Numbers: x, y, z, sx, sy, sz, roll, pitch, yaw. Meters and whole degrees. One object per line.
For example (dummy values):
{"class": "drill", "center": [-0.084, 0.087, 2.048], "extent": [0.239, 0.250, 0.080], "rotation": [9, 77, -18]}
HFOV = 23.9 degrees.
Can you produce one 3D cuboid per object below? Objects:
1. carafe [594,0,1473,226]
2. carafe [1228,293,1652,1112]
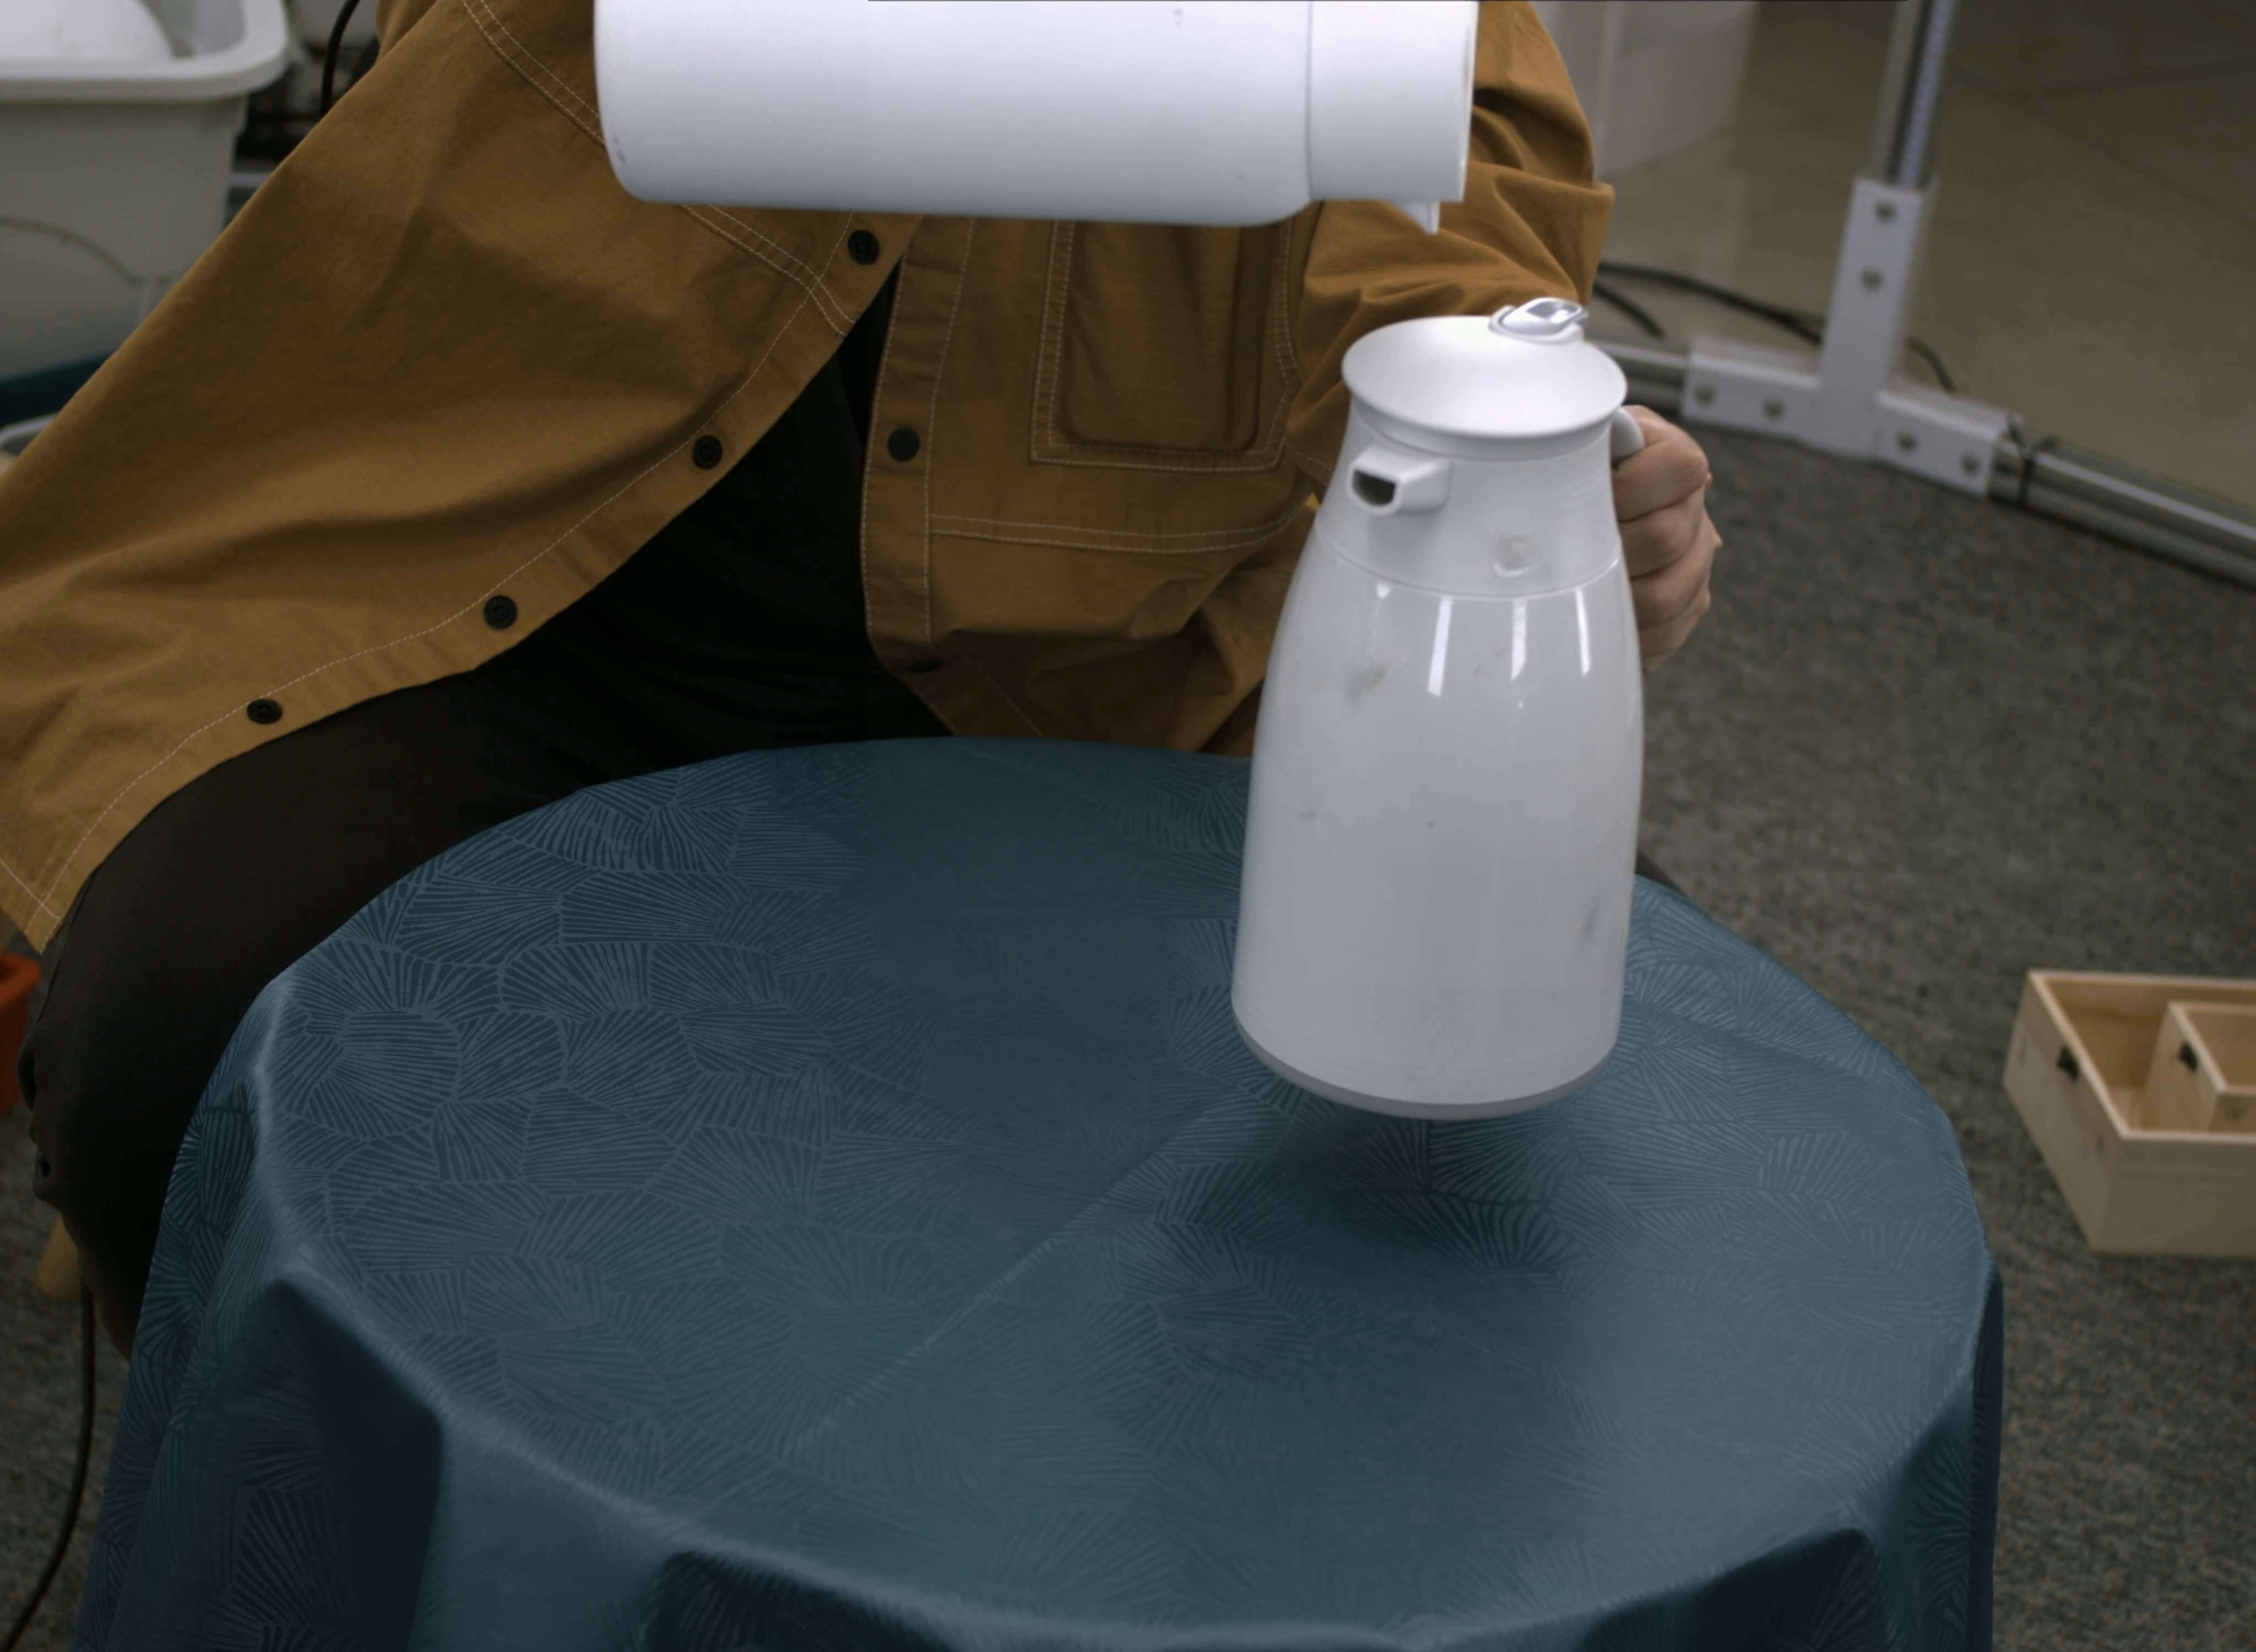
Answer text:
{"class": "carafe", "center": [-0.027, -0.261, 1.640], "extent": [0.268, 0.172, 0.124], "rotation": [4, 41, 8]}
{"class": "carafe", "center": [0.117, -0.052, 1.764], "extent": [0.133, 0.248, 0.167], "rotation": [21, 32, 30]}
